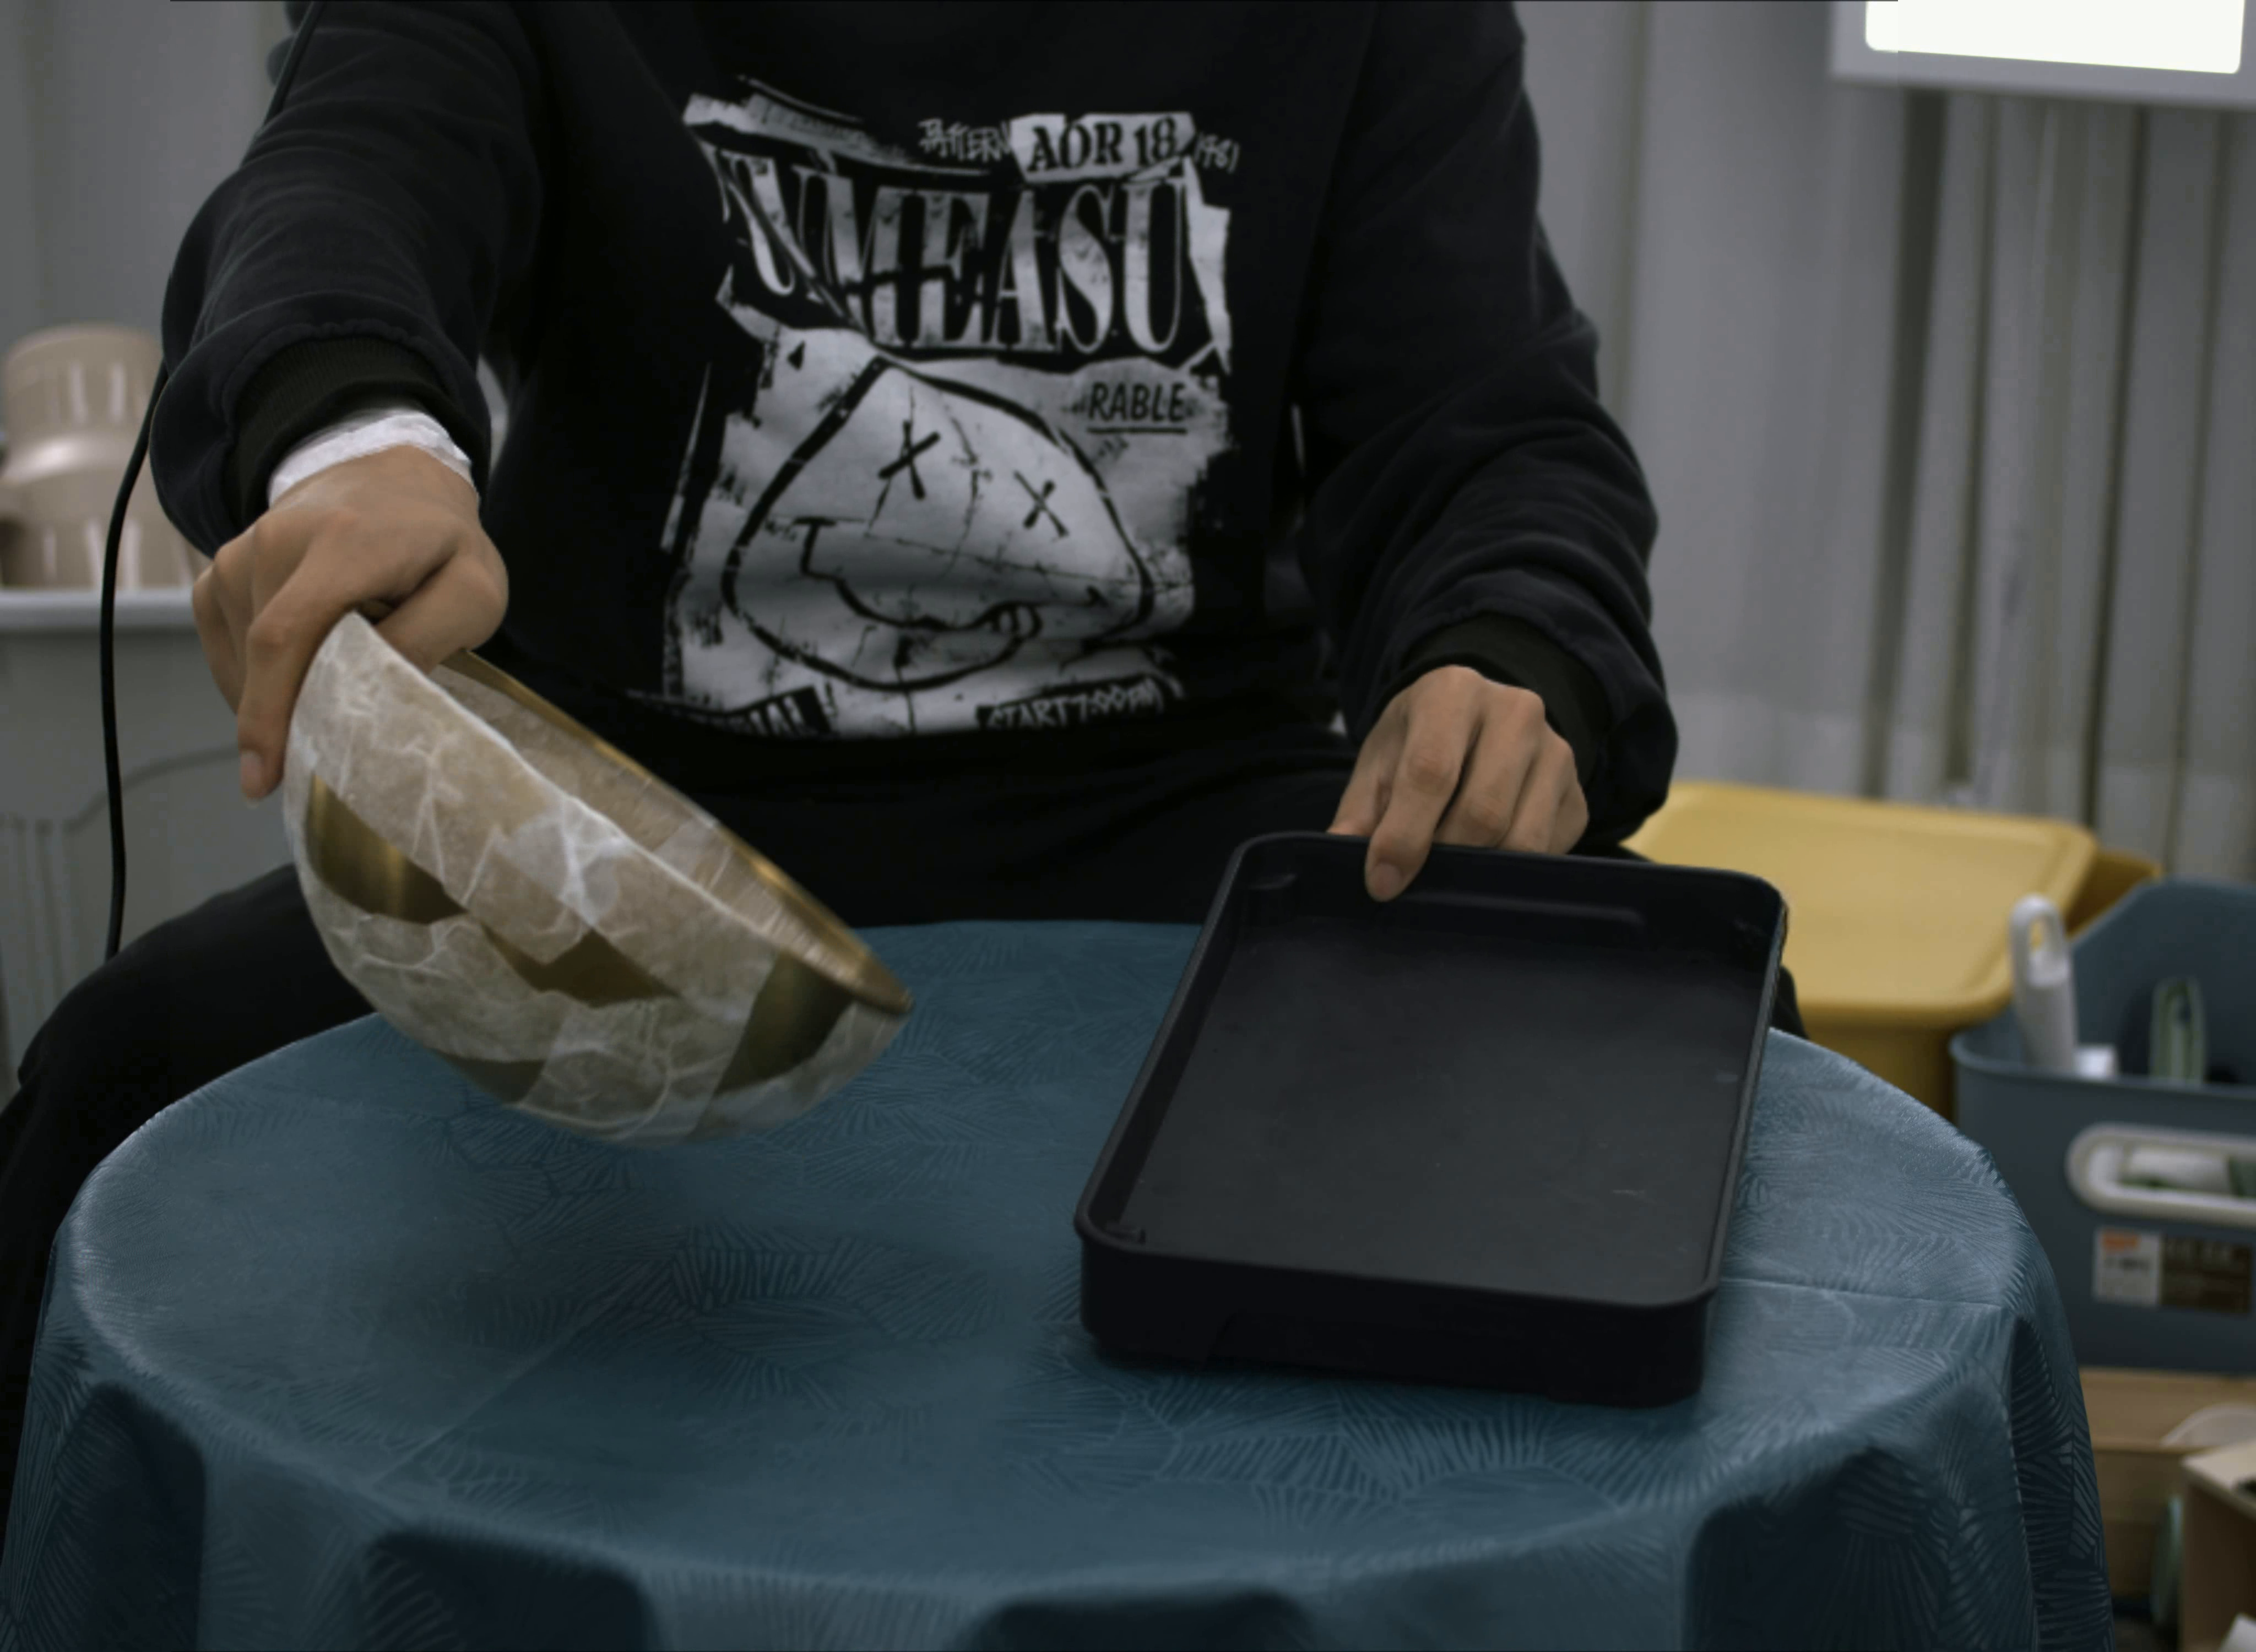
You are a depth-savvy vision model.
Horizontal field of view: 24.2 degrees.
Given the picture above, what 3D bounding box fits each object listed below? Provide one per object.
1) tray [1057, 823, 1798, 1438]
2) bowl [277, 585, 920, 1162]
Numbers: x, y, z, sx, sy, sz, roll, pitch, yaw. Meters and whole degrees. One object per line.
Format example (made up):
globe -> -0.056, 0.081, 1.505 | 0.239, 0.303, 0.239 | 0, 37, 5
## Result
tray -> 0.098, 0.084, 1.602 | 0.183, 0.037, 0.317 | 7, 25, 10
bowl -> -0.165, 0.032, 1.501 | 0.214, 0.094, 0.214 | 38, 1, 0
